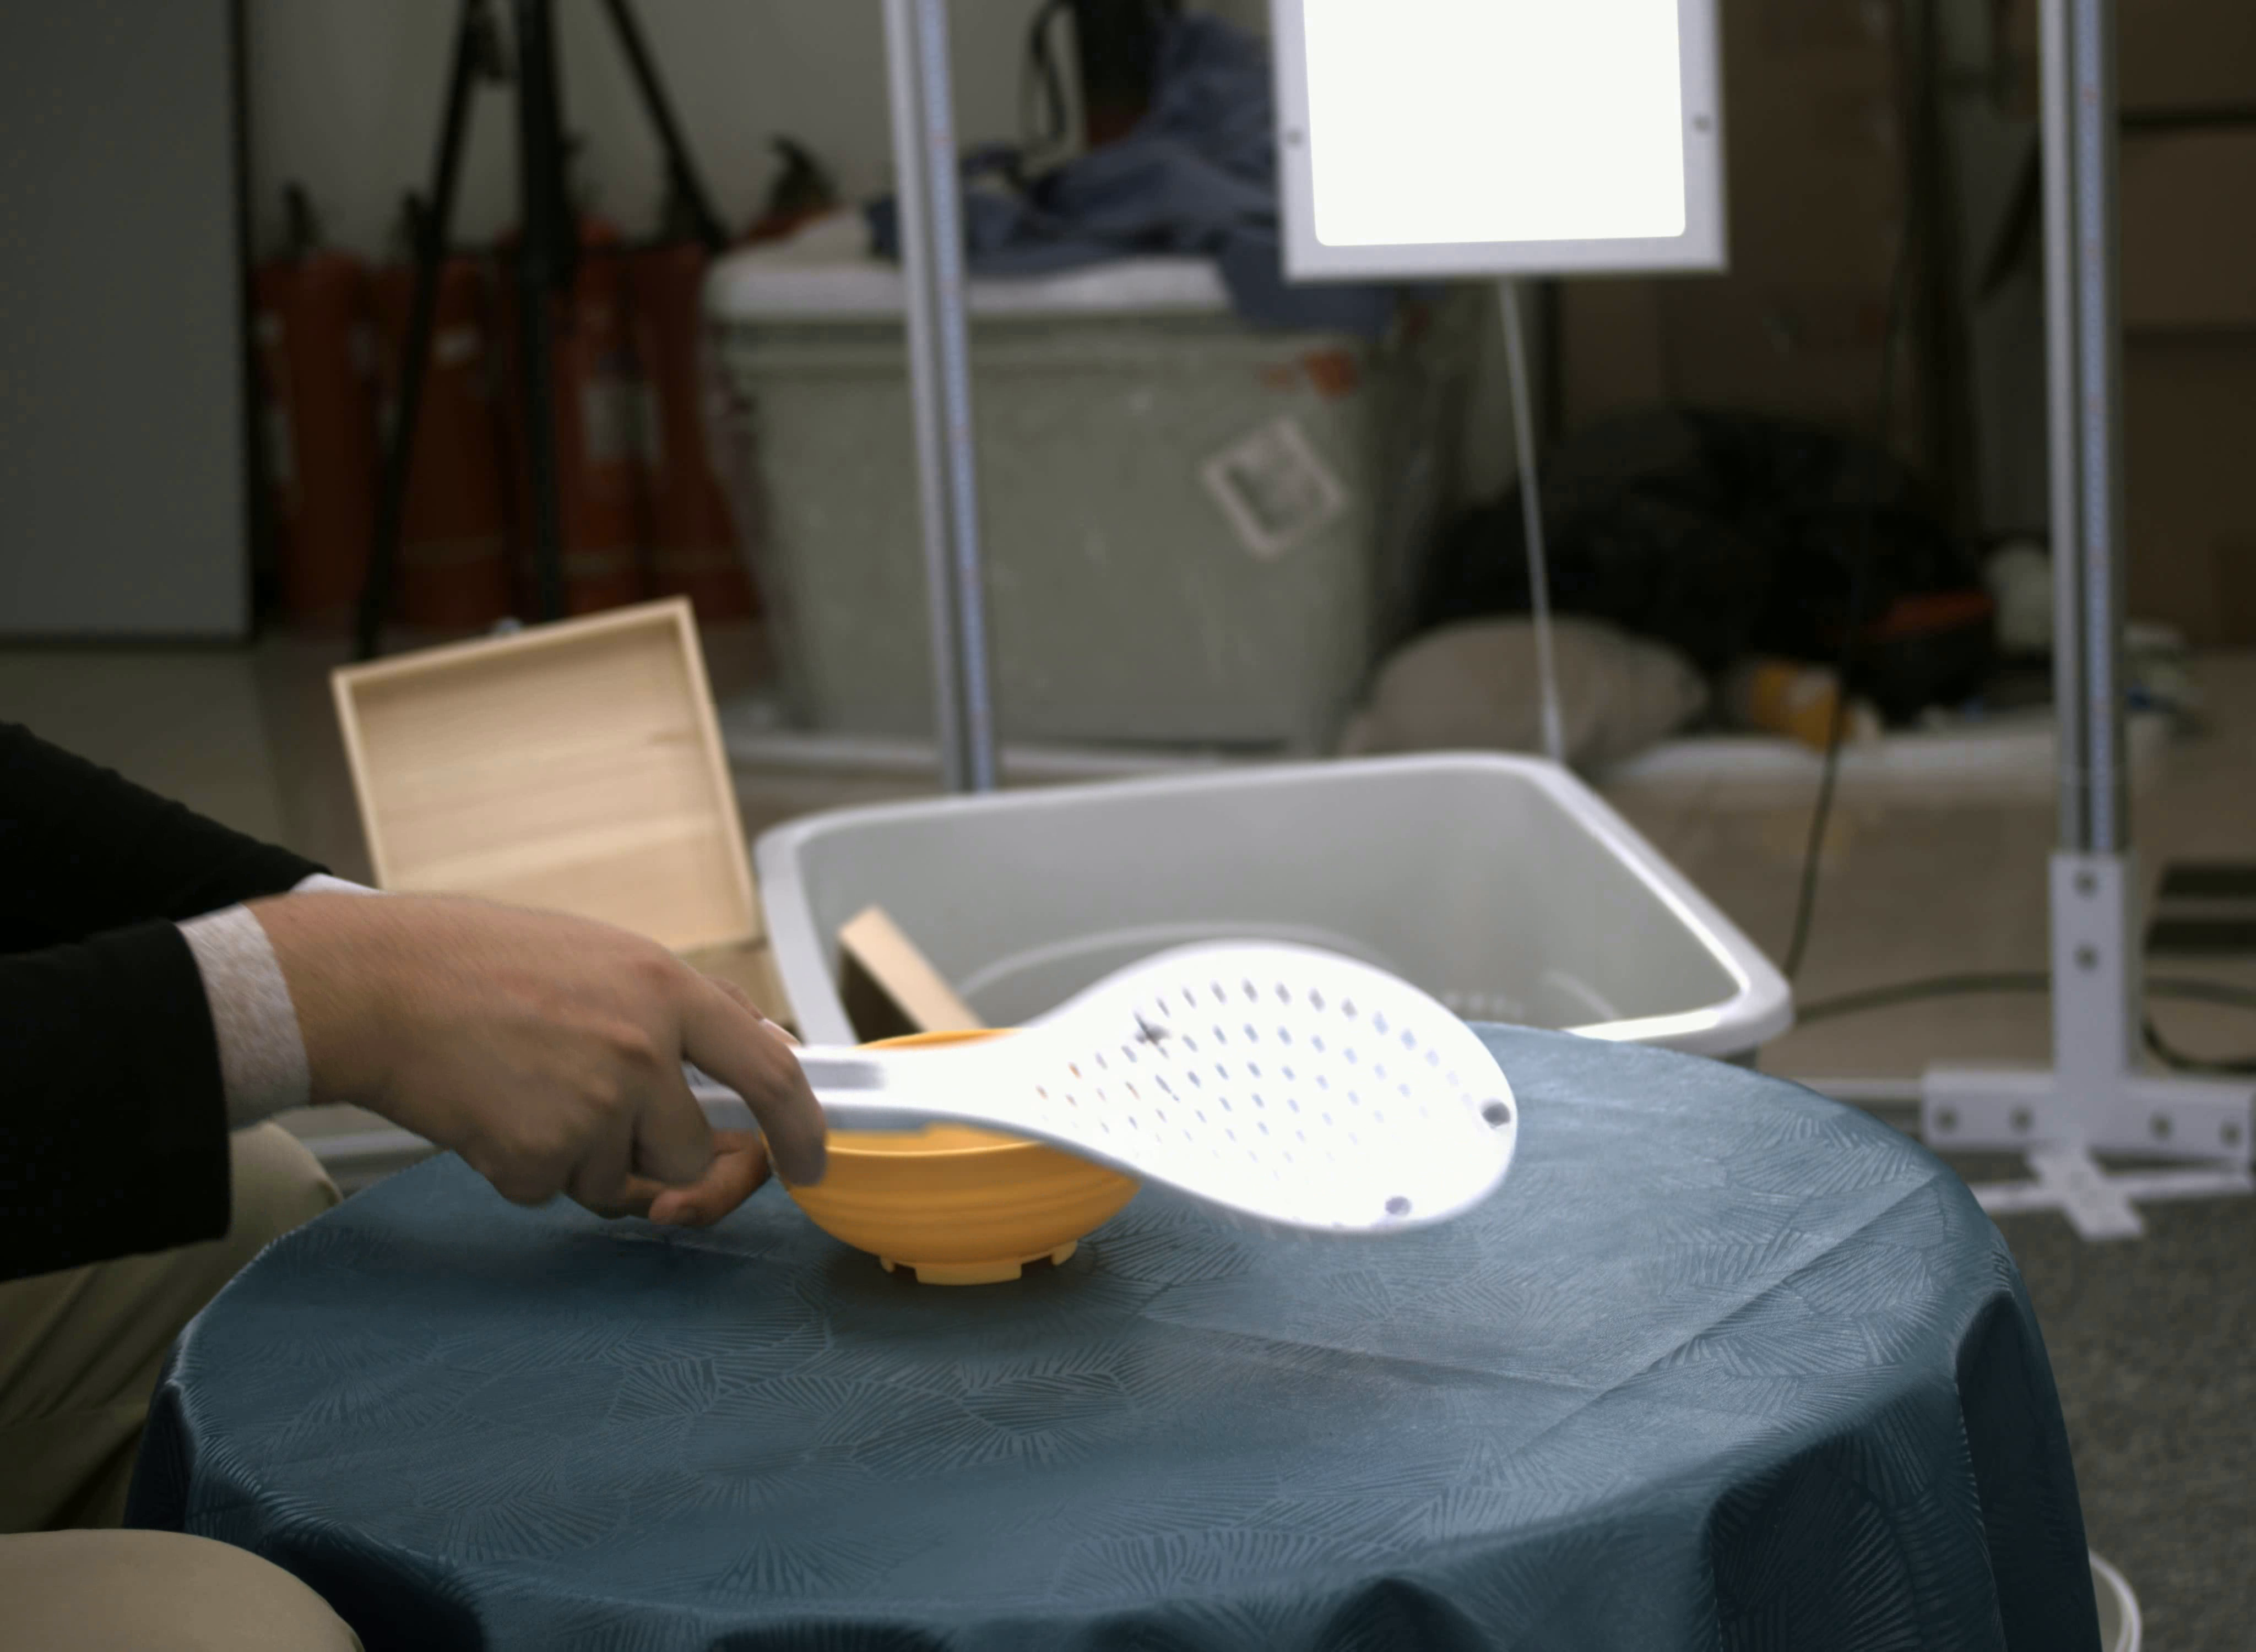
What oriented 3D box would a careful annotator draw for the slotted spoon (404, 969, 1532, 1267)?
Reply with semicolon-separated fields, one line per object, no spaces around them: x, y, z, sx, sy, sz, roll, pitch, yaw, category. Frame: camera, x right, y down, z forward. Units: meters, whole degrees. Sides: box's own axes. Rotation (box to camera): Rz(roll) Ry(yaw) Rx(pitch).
-0.046;0.087;1.674;0.344;0.046;0.136;7;35;-16;slotted spoon

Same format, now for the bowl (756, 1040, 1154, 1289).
-0.054;0.117;1.839;0.145;0.060;0.145;-4;12;-1;bowl
